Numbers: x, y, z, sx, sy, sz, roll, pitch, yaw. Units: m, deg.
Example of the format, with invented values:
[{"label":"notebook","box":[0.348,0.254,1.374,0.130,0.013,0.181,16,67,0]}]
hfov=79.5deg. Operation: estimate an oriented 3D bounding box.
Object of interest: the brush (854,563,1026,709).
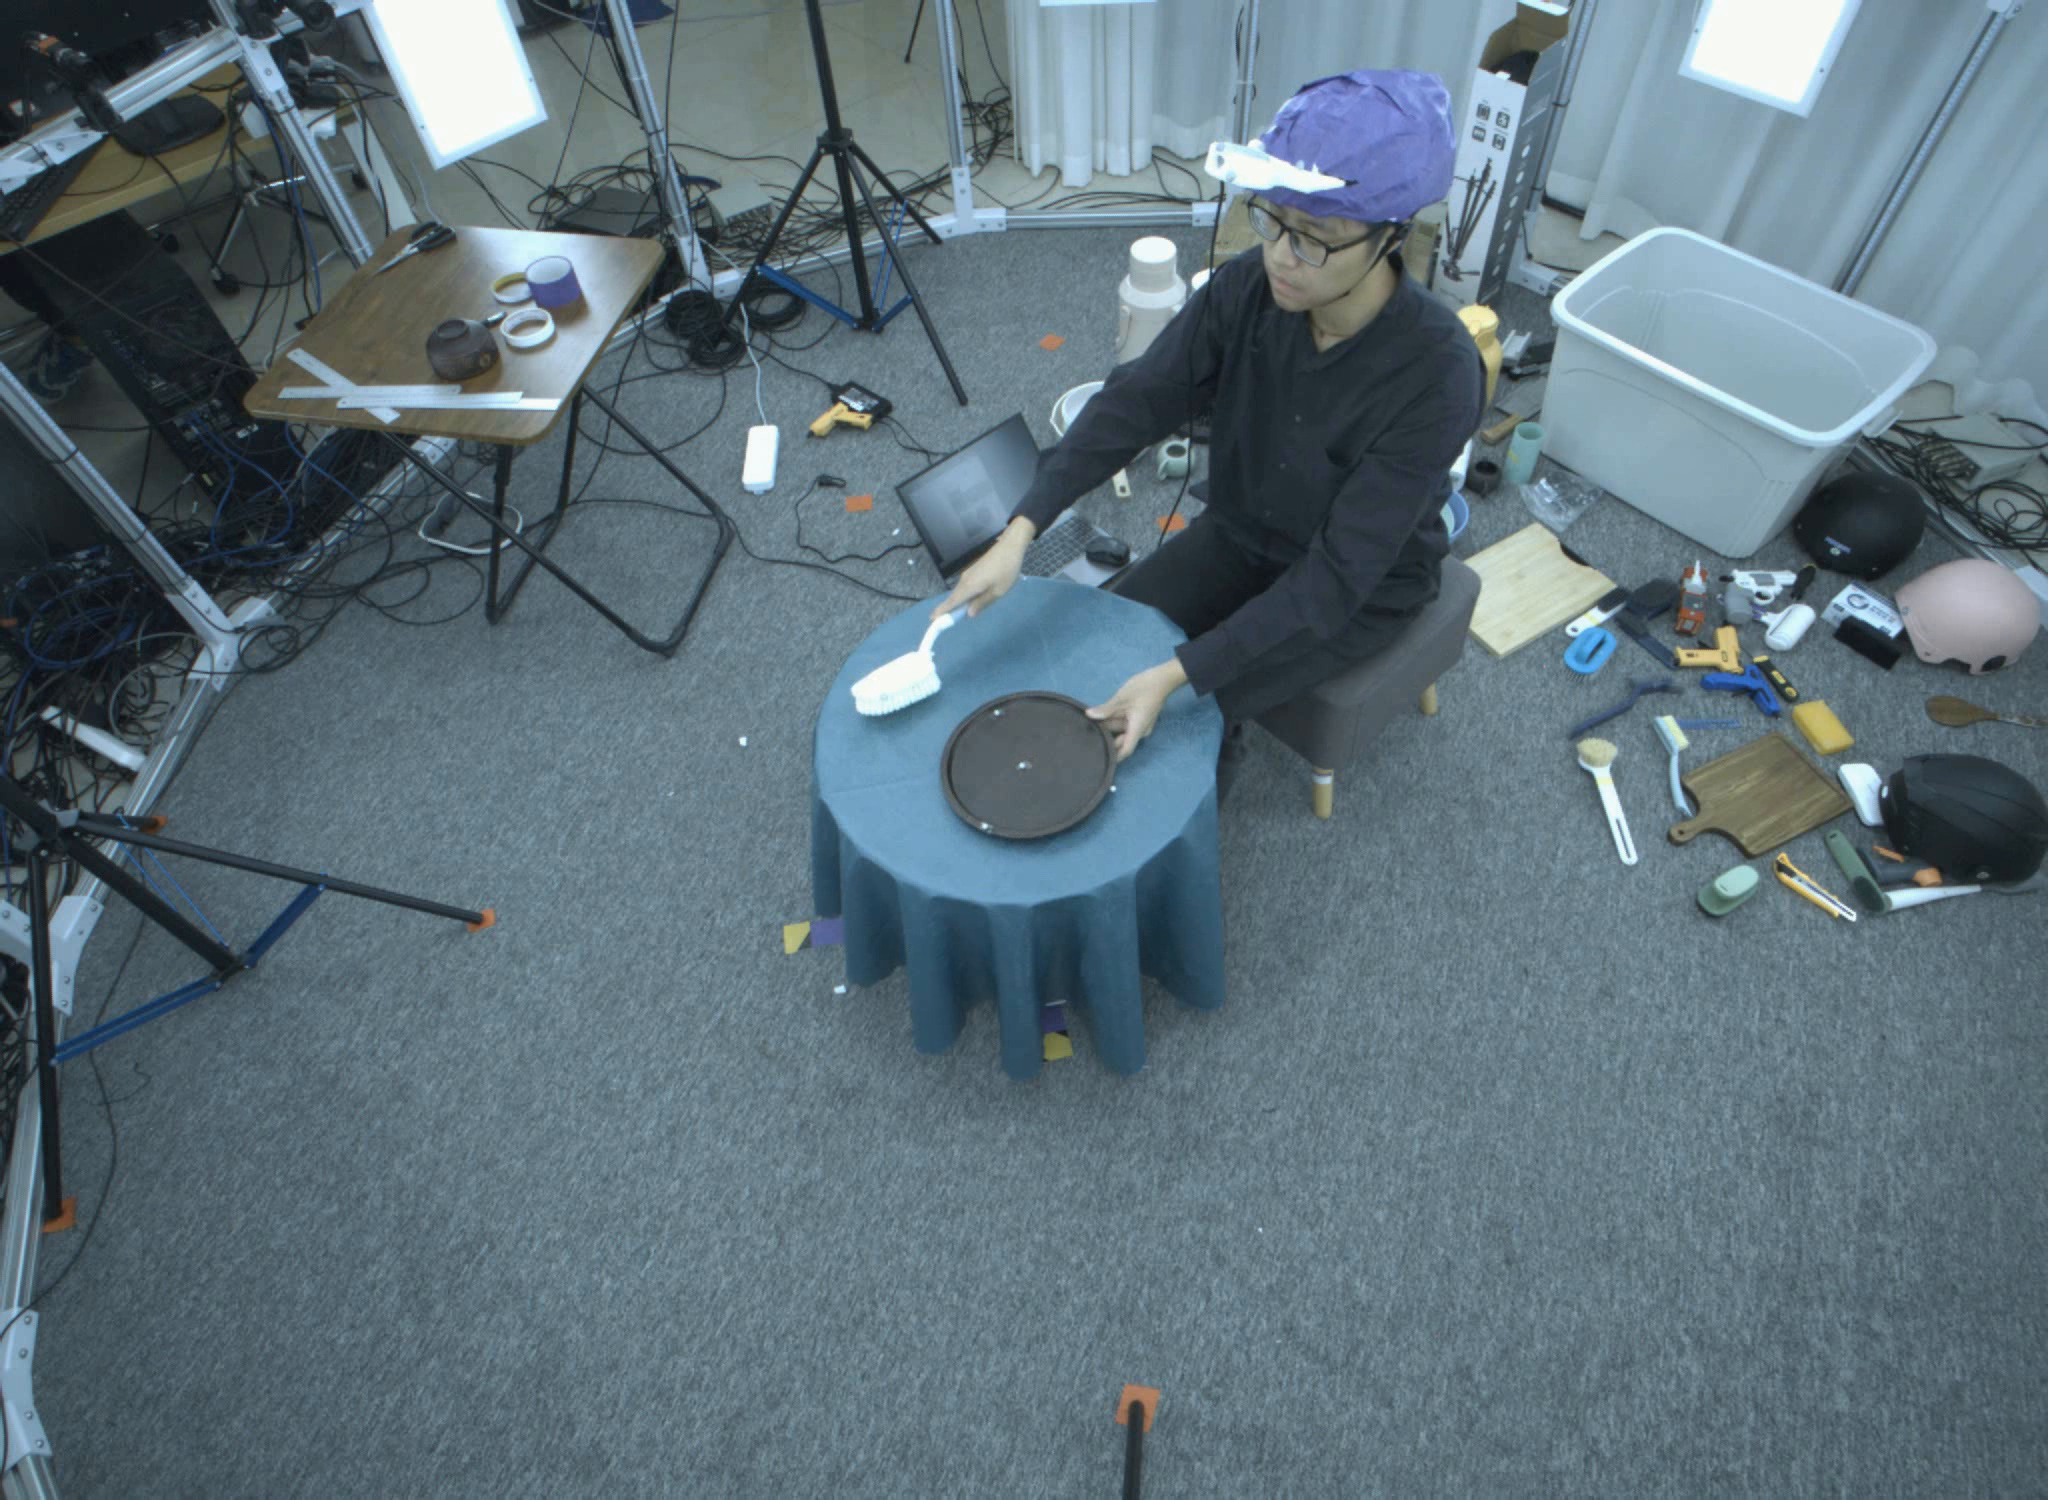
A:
[{"label":"brush","box":[-0.112,-0.158,1.842,0.327,0.084,0.082,-38,81,-15]}]

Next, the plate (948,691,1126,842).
[{"label":"plate","box":[0.019,0.022,1.745,0.254,0.029,0.252,-4,54,6]}]
